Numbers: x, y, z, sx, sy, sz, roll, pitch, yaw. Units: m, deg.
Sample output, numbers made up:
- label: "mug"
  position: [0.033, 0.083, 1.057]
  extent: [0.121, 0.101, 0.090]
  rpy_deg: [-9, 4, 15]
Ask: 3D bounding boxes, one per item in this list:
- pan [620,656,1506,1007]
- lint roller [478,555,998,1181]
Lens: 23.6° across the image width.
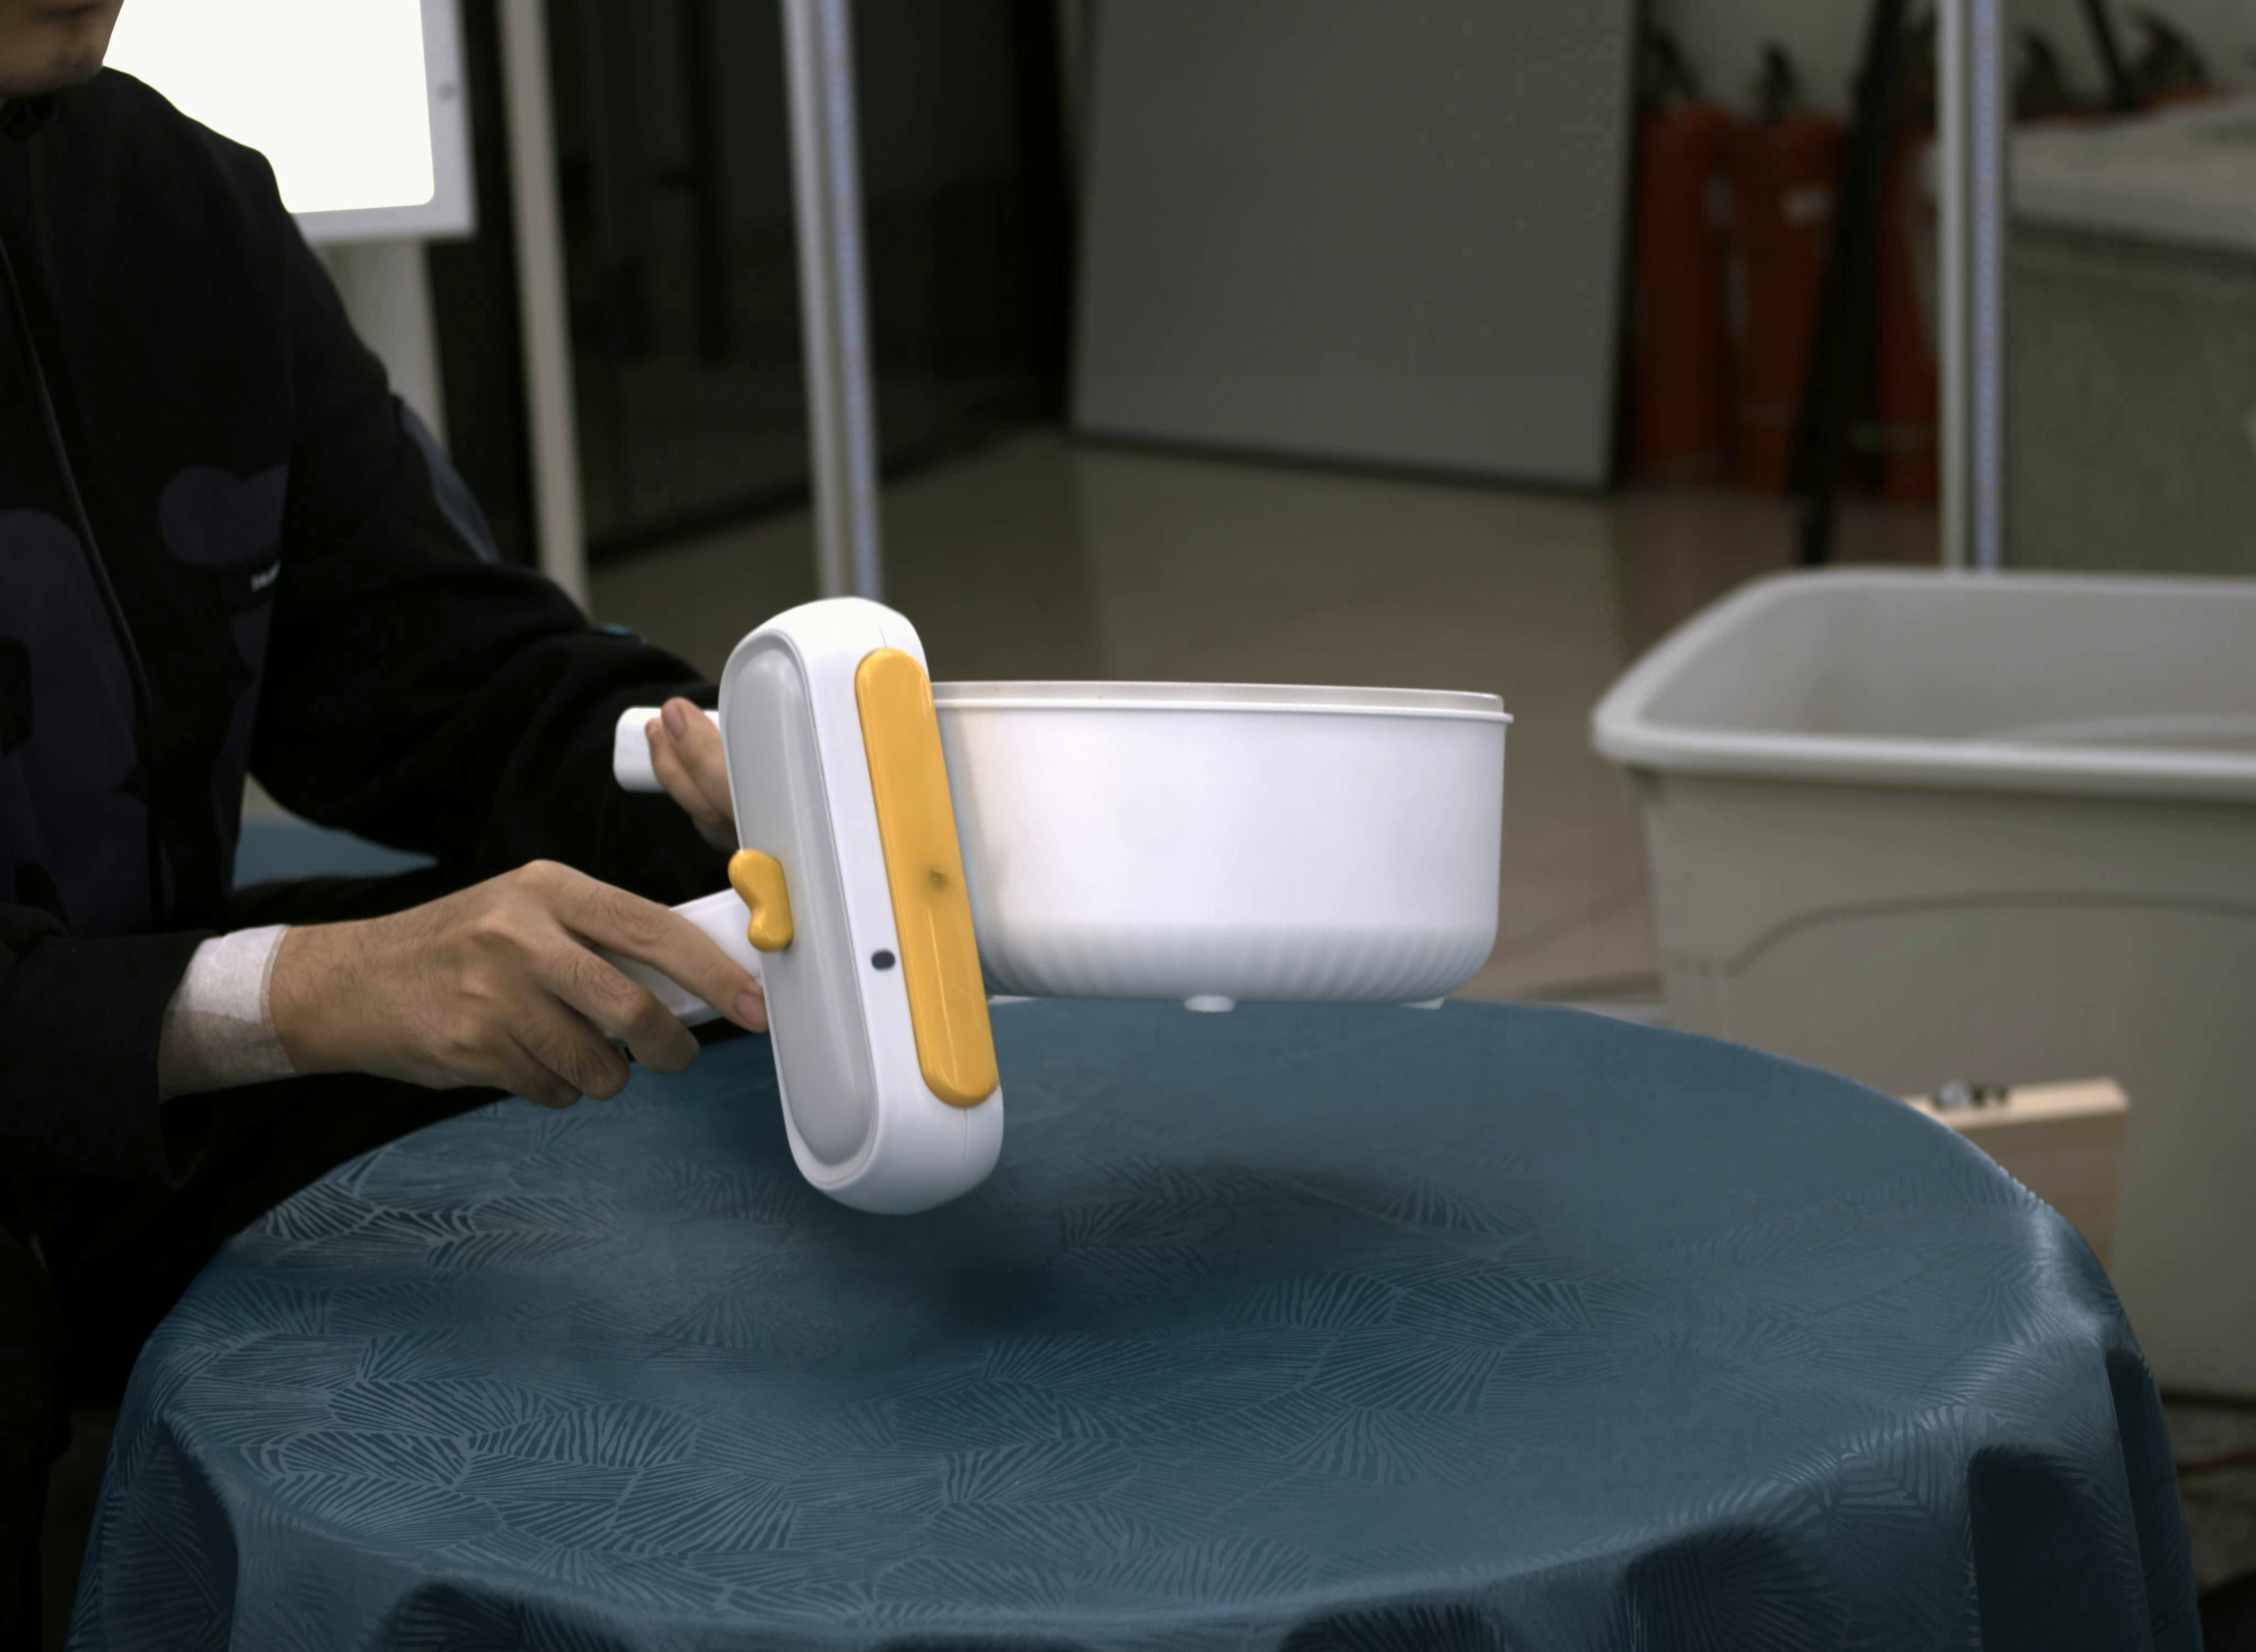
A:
- label: "pan"
  position: [-0.037, 0.005, 1.766]
  extent: [0.358, 0.103, 0.197]
  rpy_deg: [-1, -3, 43]
- label: "lint roller"
  position: [-0.128, 0.034, 1.686]
  extent: [0.072, 0.195, 0.194]
  rpy_deg: [-3, -19, -44]
